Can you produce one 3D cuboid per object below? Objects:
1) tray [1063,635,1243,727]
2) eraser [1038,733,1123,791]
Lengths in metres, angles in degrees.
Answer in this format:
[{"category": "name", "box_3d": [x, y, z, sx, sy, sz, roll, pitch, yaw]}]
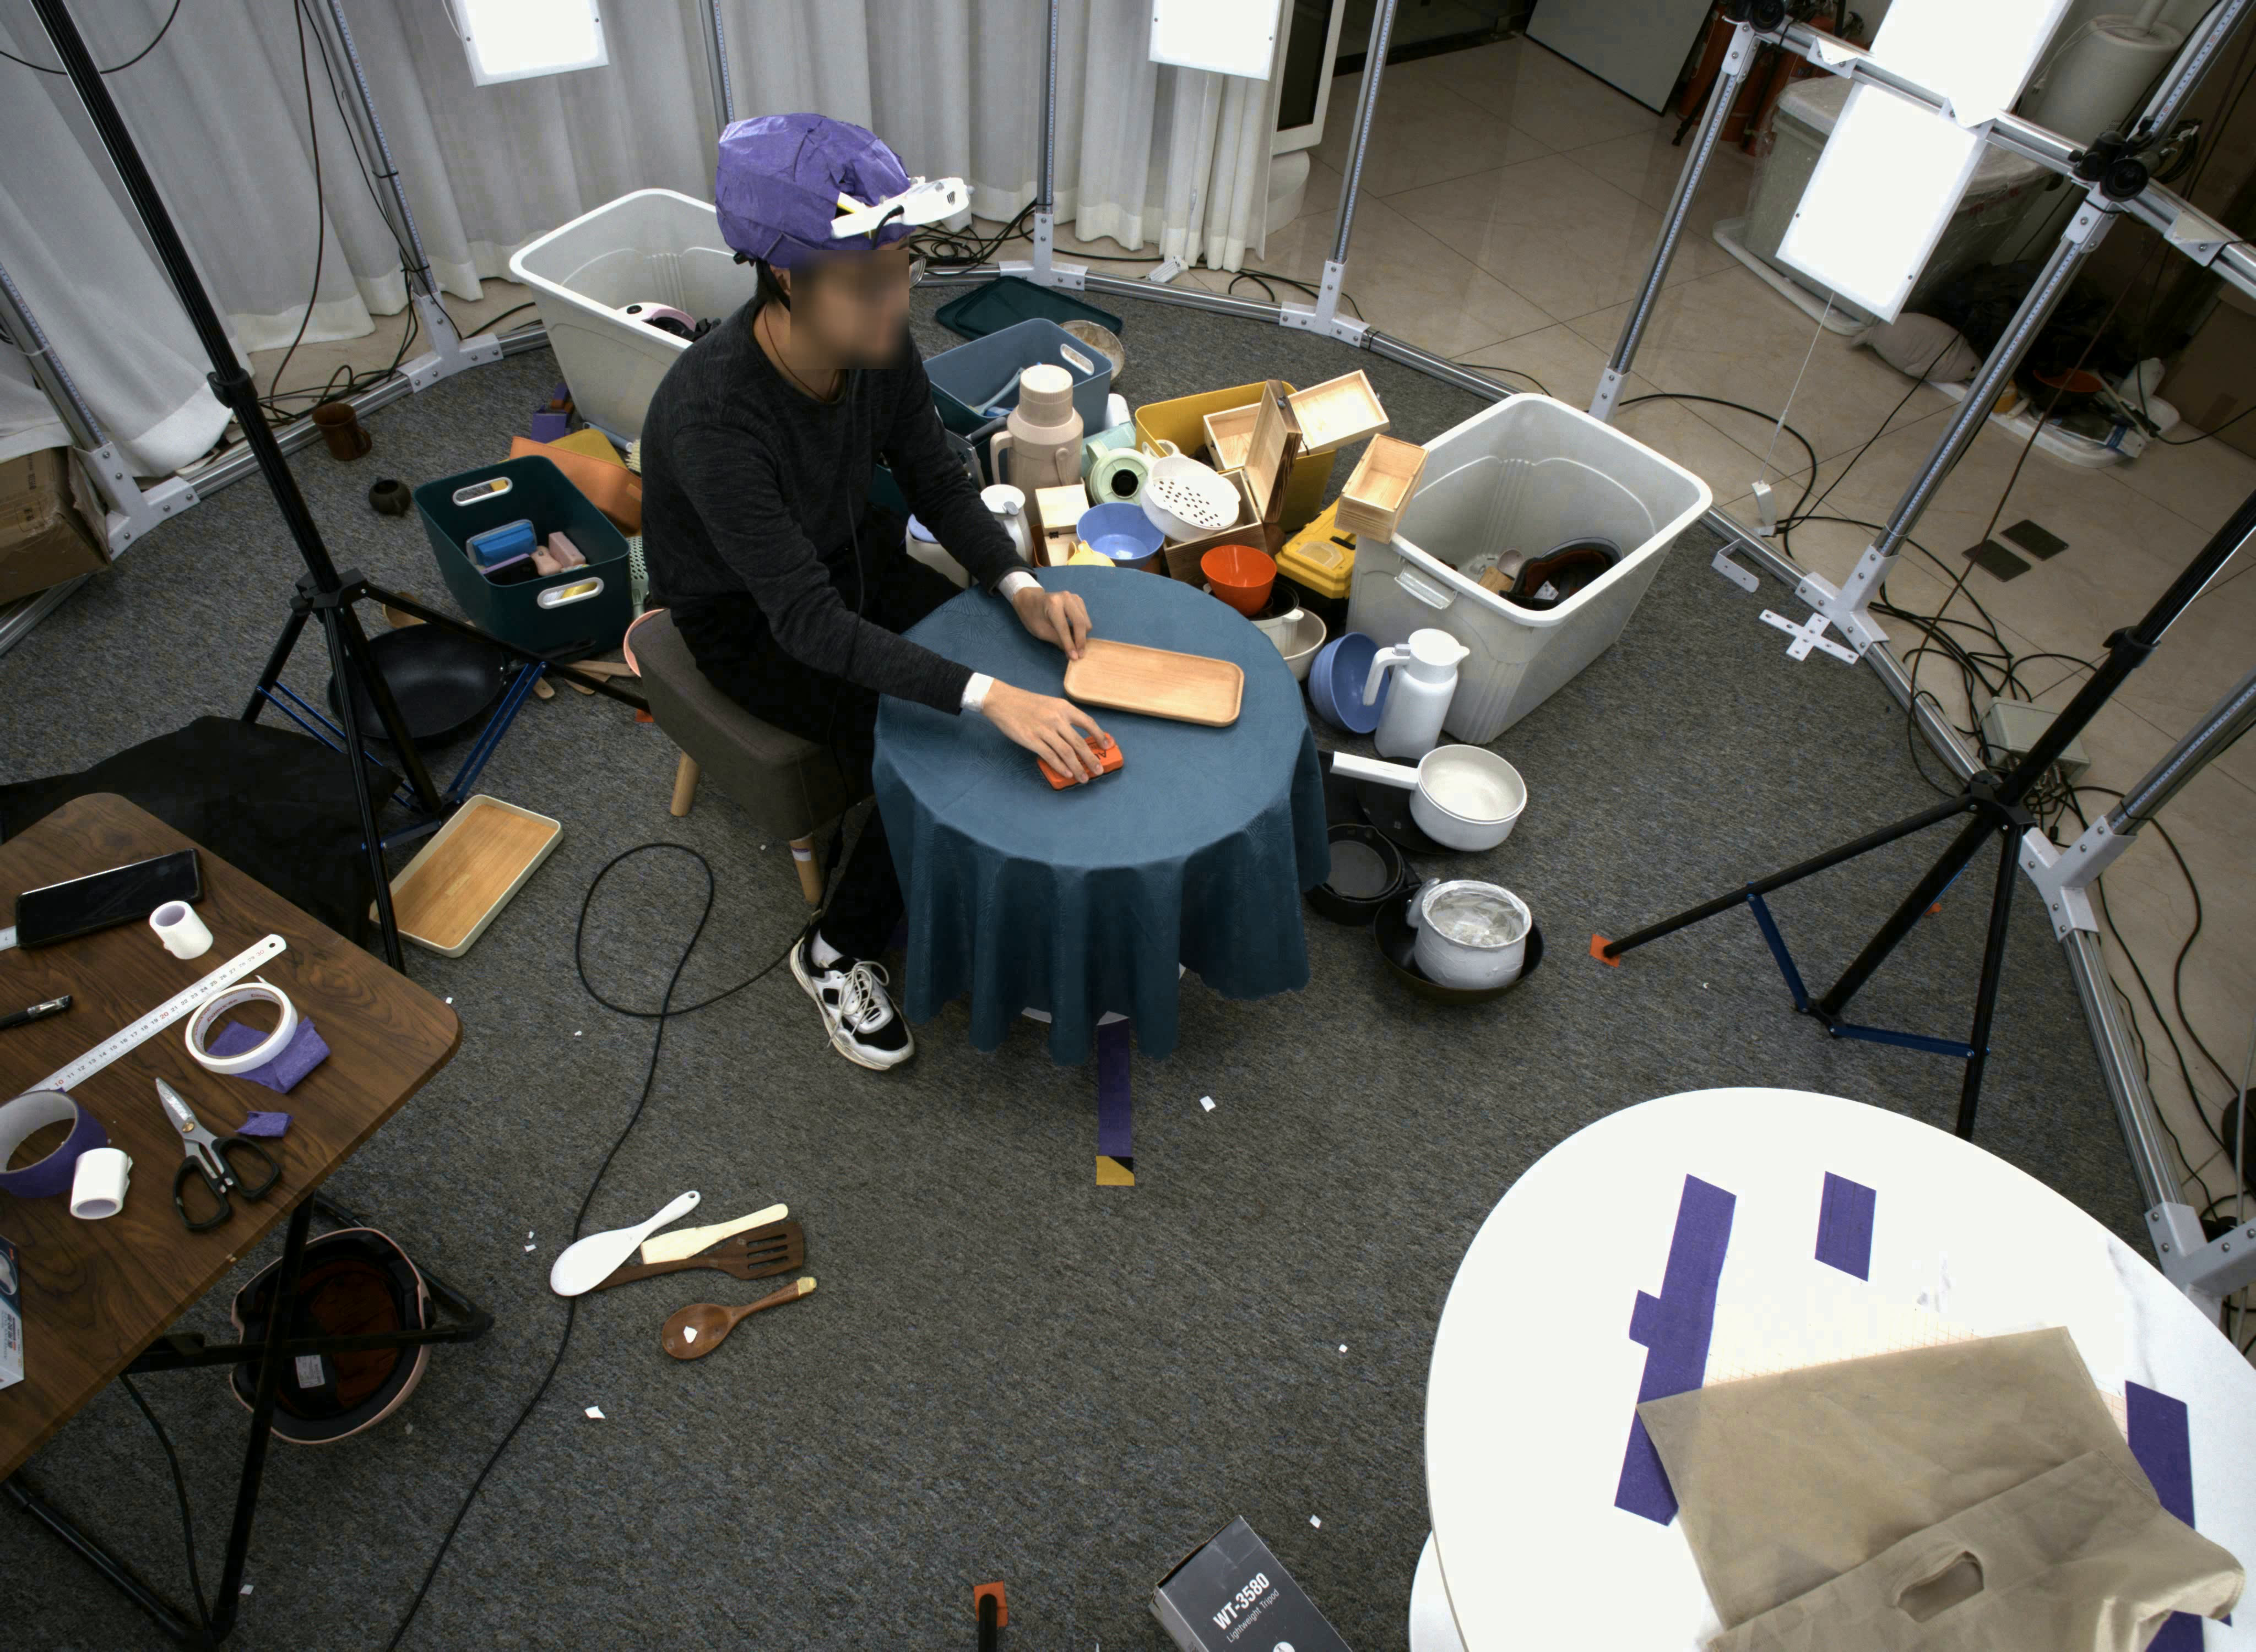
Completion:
[{"category": "tray", "box_3d": [0.037, -0.207, 1.833, 0.251, 0.022, 0.133, 11, 48, 3]}, {"category": "eraser", "box_3d": [-0.064, -0.087, 1.726, 0.108, 0.022, 0.060, -19, 51, -19]}]
